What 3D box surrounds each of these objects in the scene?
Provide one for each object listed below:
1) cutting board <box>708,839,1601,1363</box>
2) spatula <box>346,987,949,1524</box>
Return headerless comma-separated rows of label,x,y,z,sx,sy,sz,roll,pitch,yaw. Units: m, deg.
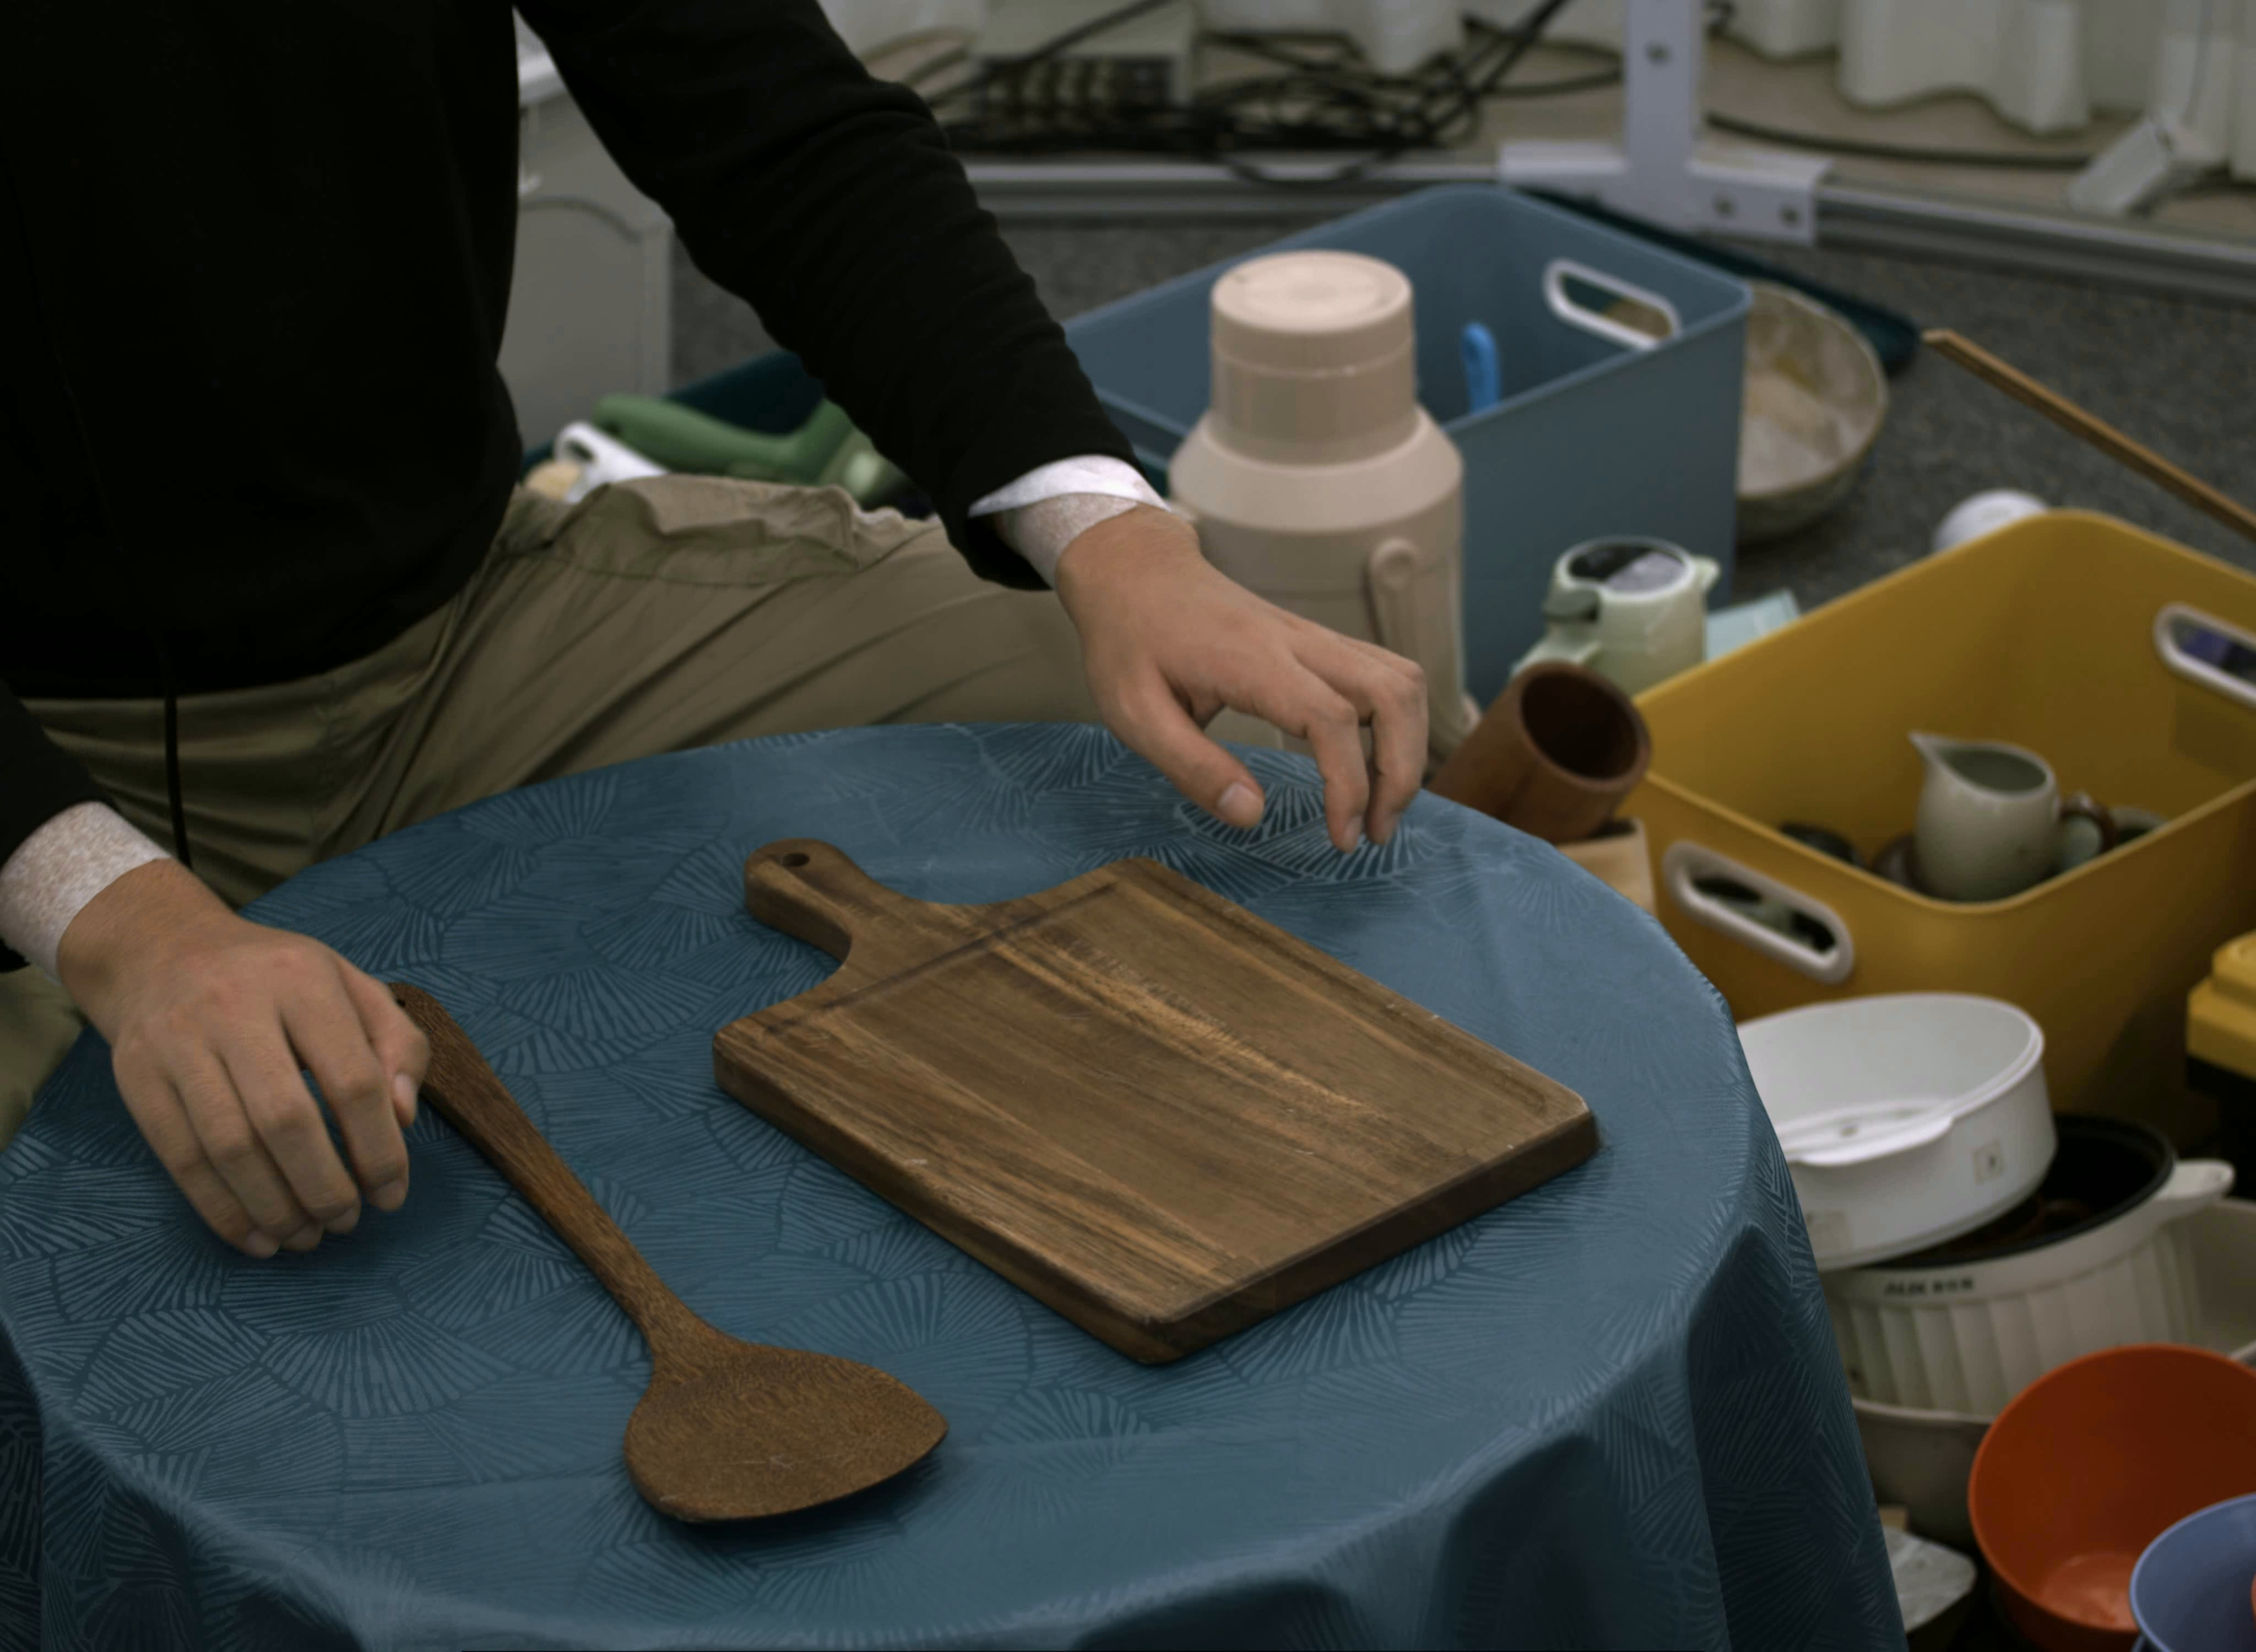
cutting board,-0.024,0.073,1.934,0.203,0.023,0.352,-22,33,-33
spatula,-0.179,0.132,1.843,0.096,0.015,0.388,-16,30,-24
